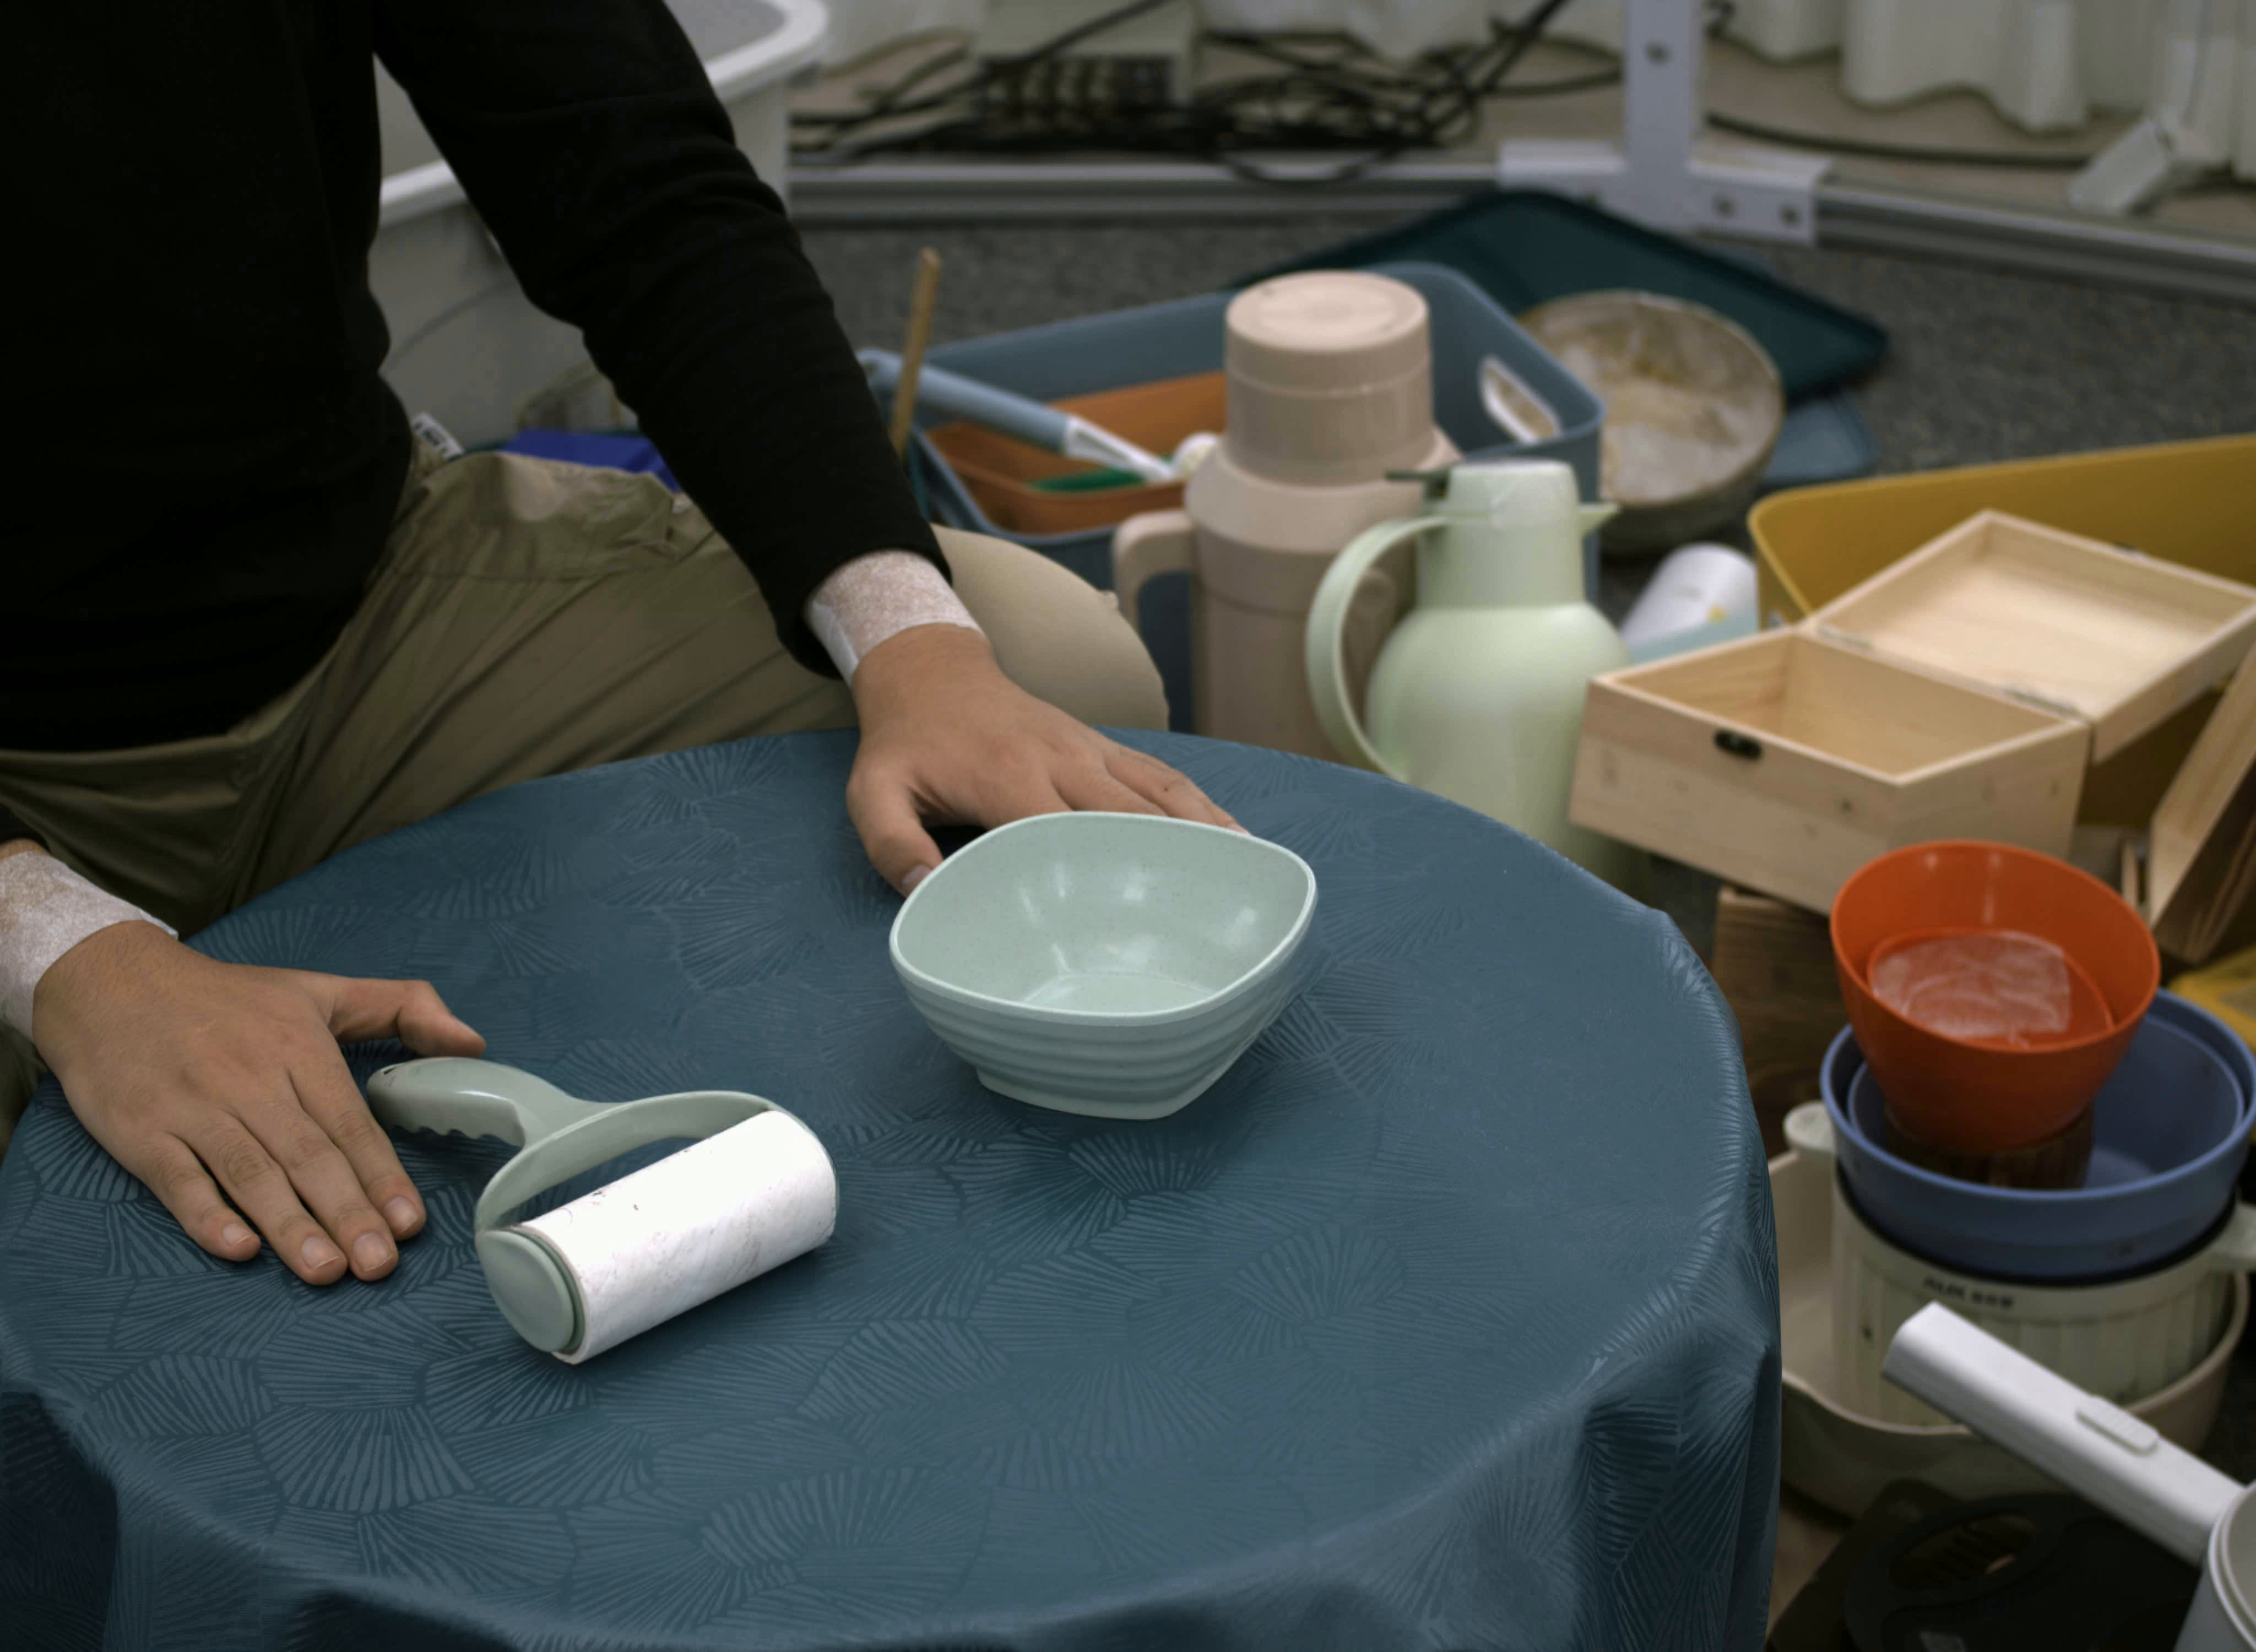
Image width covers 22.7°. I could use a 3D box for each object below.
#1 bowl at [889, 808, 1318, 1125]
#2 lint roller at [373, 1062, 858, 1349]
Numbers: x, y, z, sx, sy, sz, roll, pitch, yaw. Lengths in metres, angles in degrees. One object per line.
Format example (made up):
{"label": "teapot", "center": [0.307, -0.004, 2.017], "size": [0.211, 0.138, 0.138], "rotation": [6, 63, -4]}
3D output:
{"label": "bowl", "center": [-0.007, 0.054, 1.932], "size": [0.151, 0.058, 0.154], "rotation": [-1, 29, 1]}
{"label": "lint roller", "center": [-0.188, 0.107, 1.860], "size": [0.118, 0.048, 0.197], "rotation": [-25, 33, -34]}
